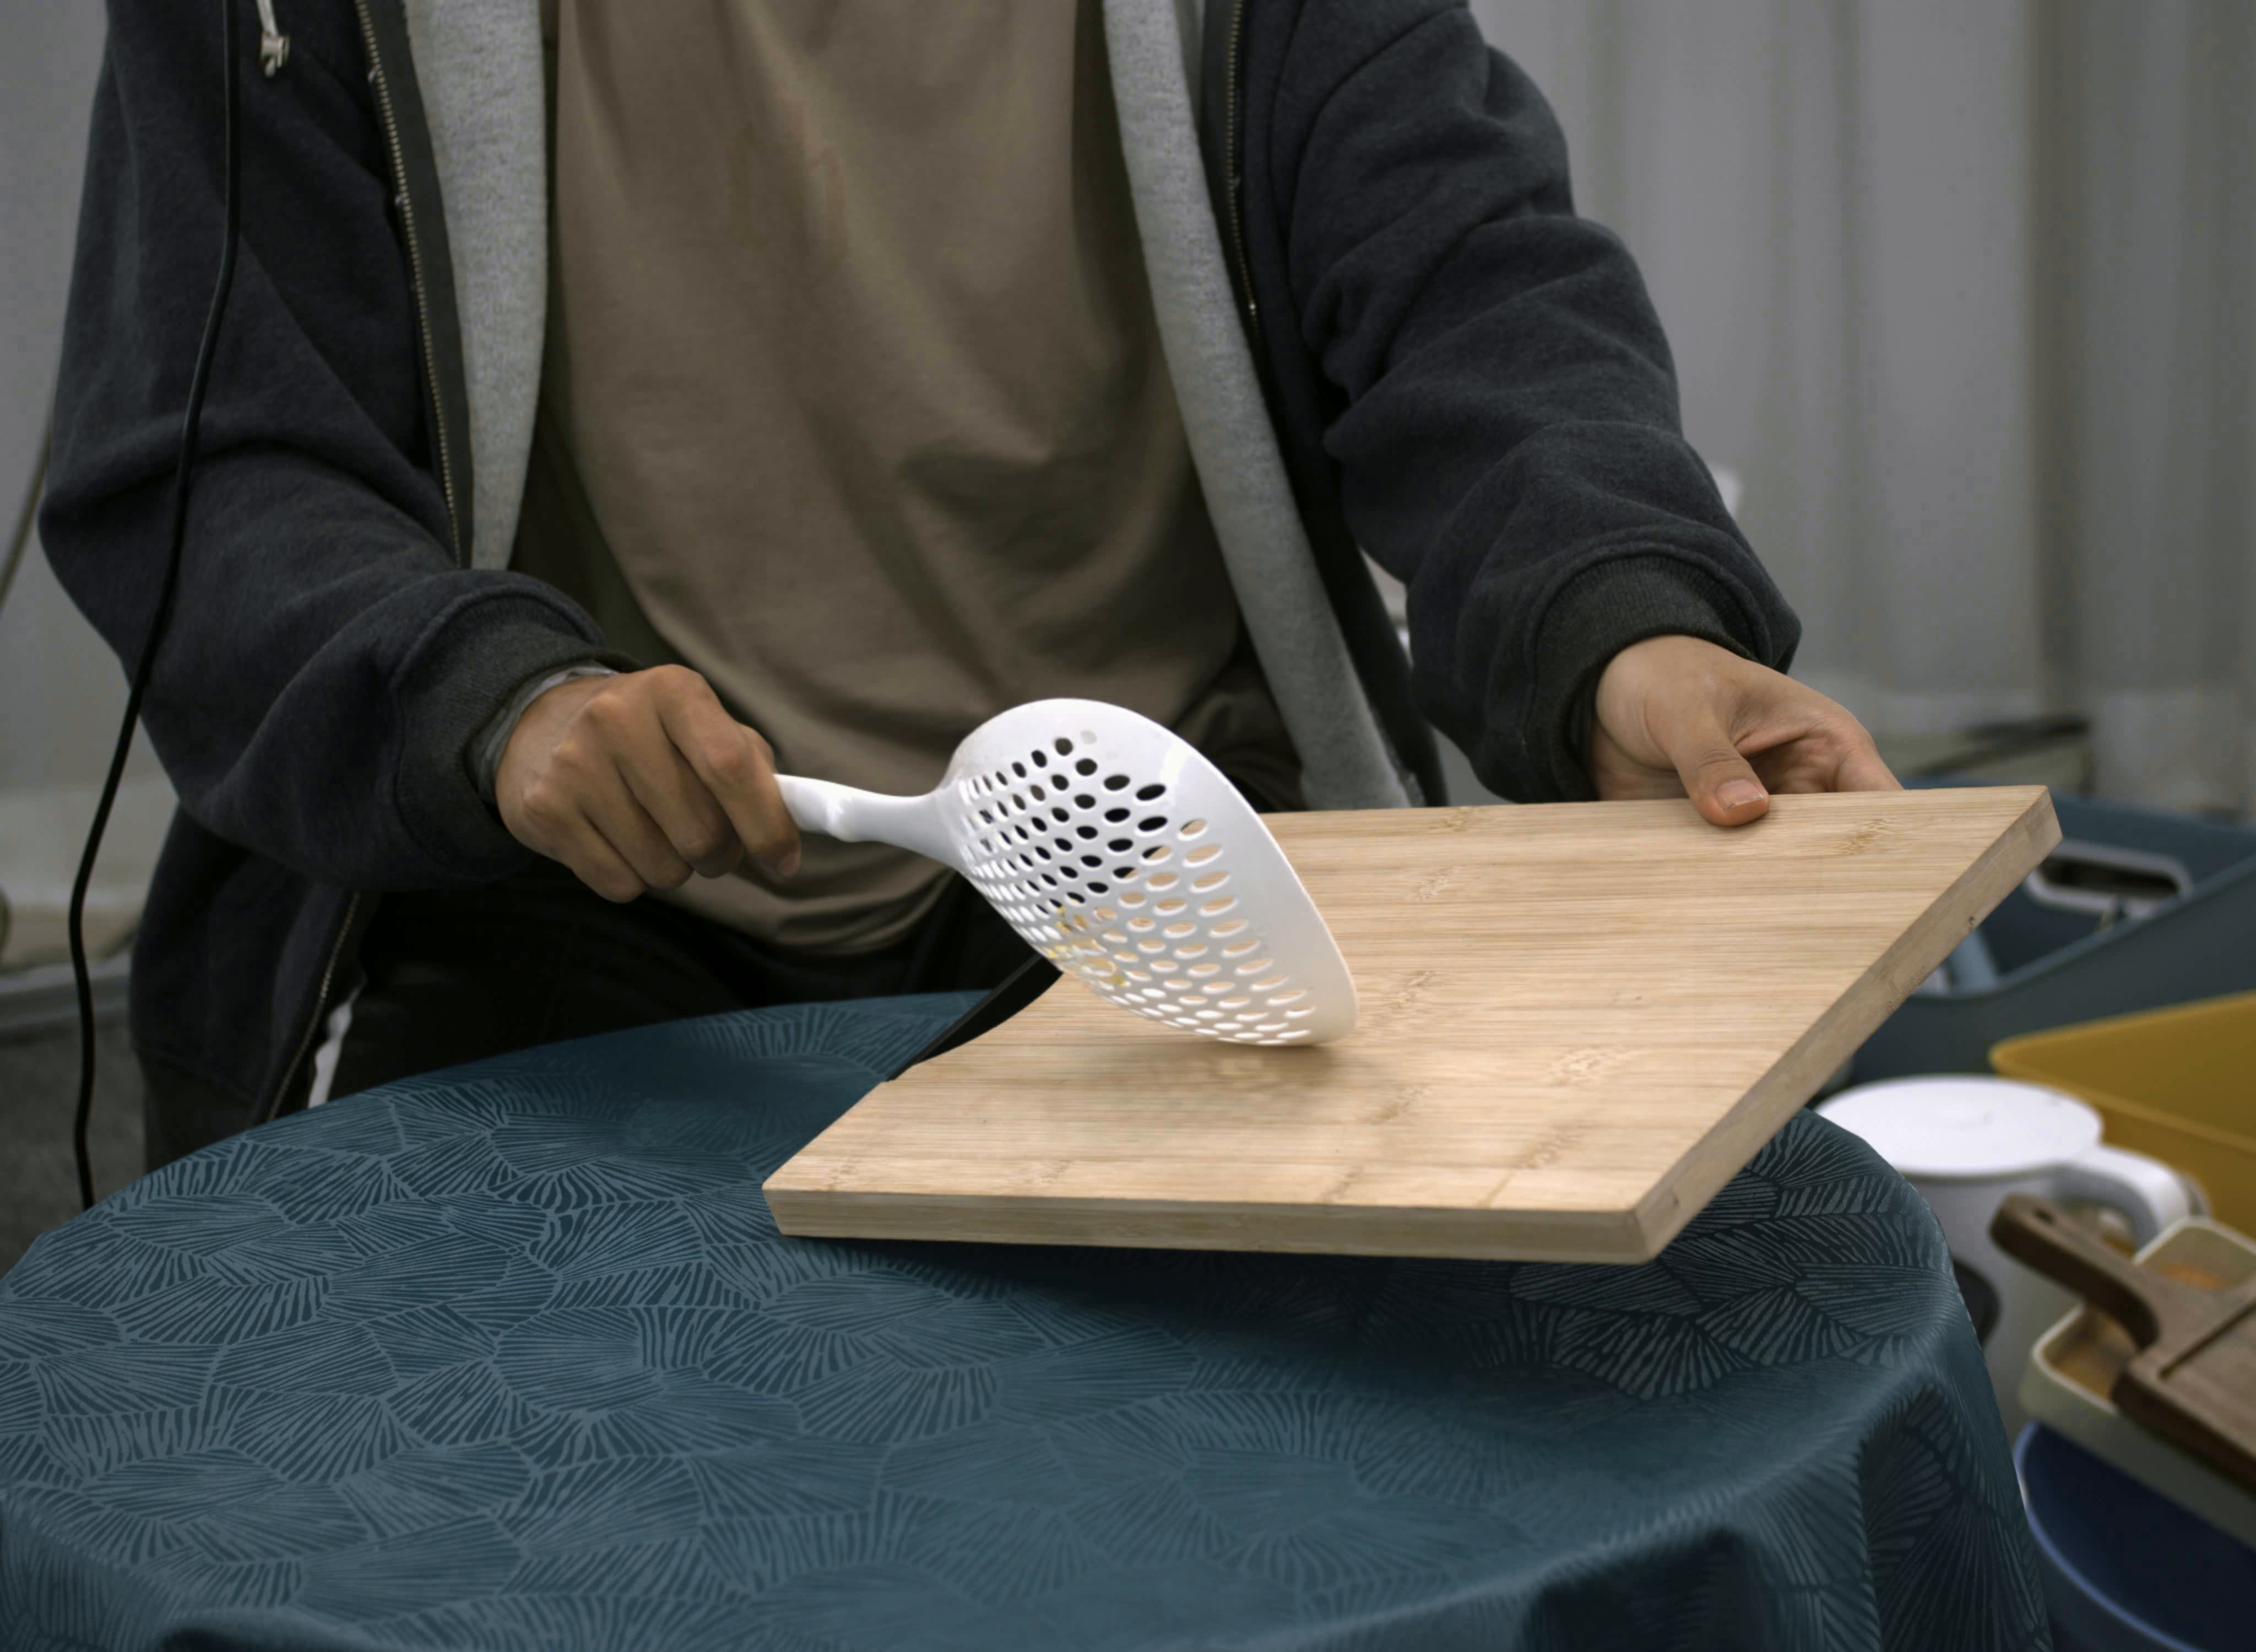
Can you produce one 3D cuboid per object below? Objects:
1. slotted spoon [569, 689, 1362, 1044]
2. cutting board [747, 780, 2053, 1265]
[{"bbox_3d":[-0.063,0.006,1.698,0.050,0.135,0.350,-44,32,-21],"label":"slotted spoon"},{"bbox_3d":[0.079,0.058,1.659,0.349,0.023,0.252,-3,26,42],"label":"cutting board"}]
